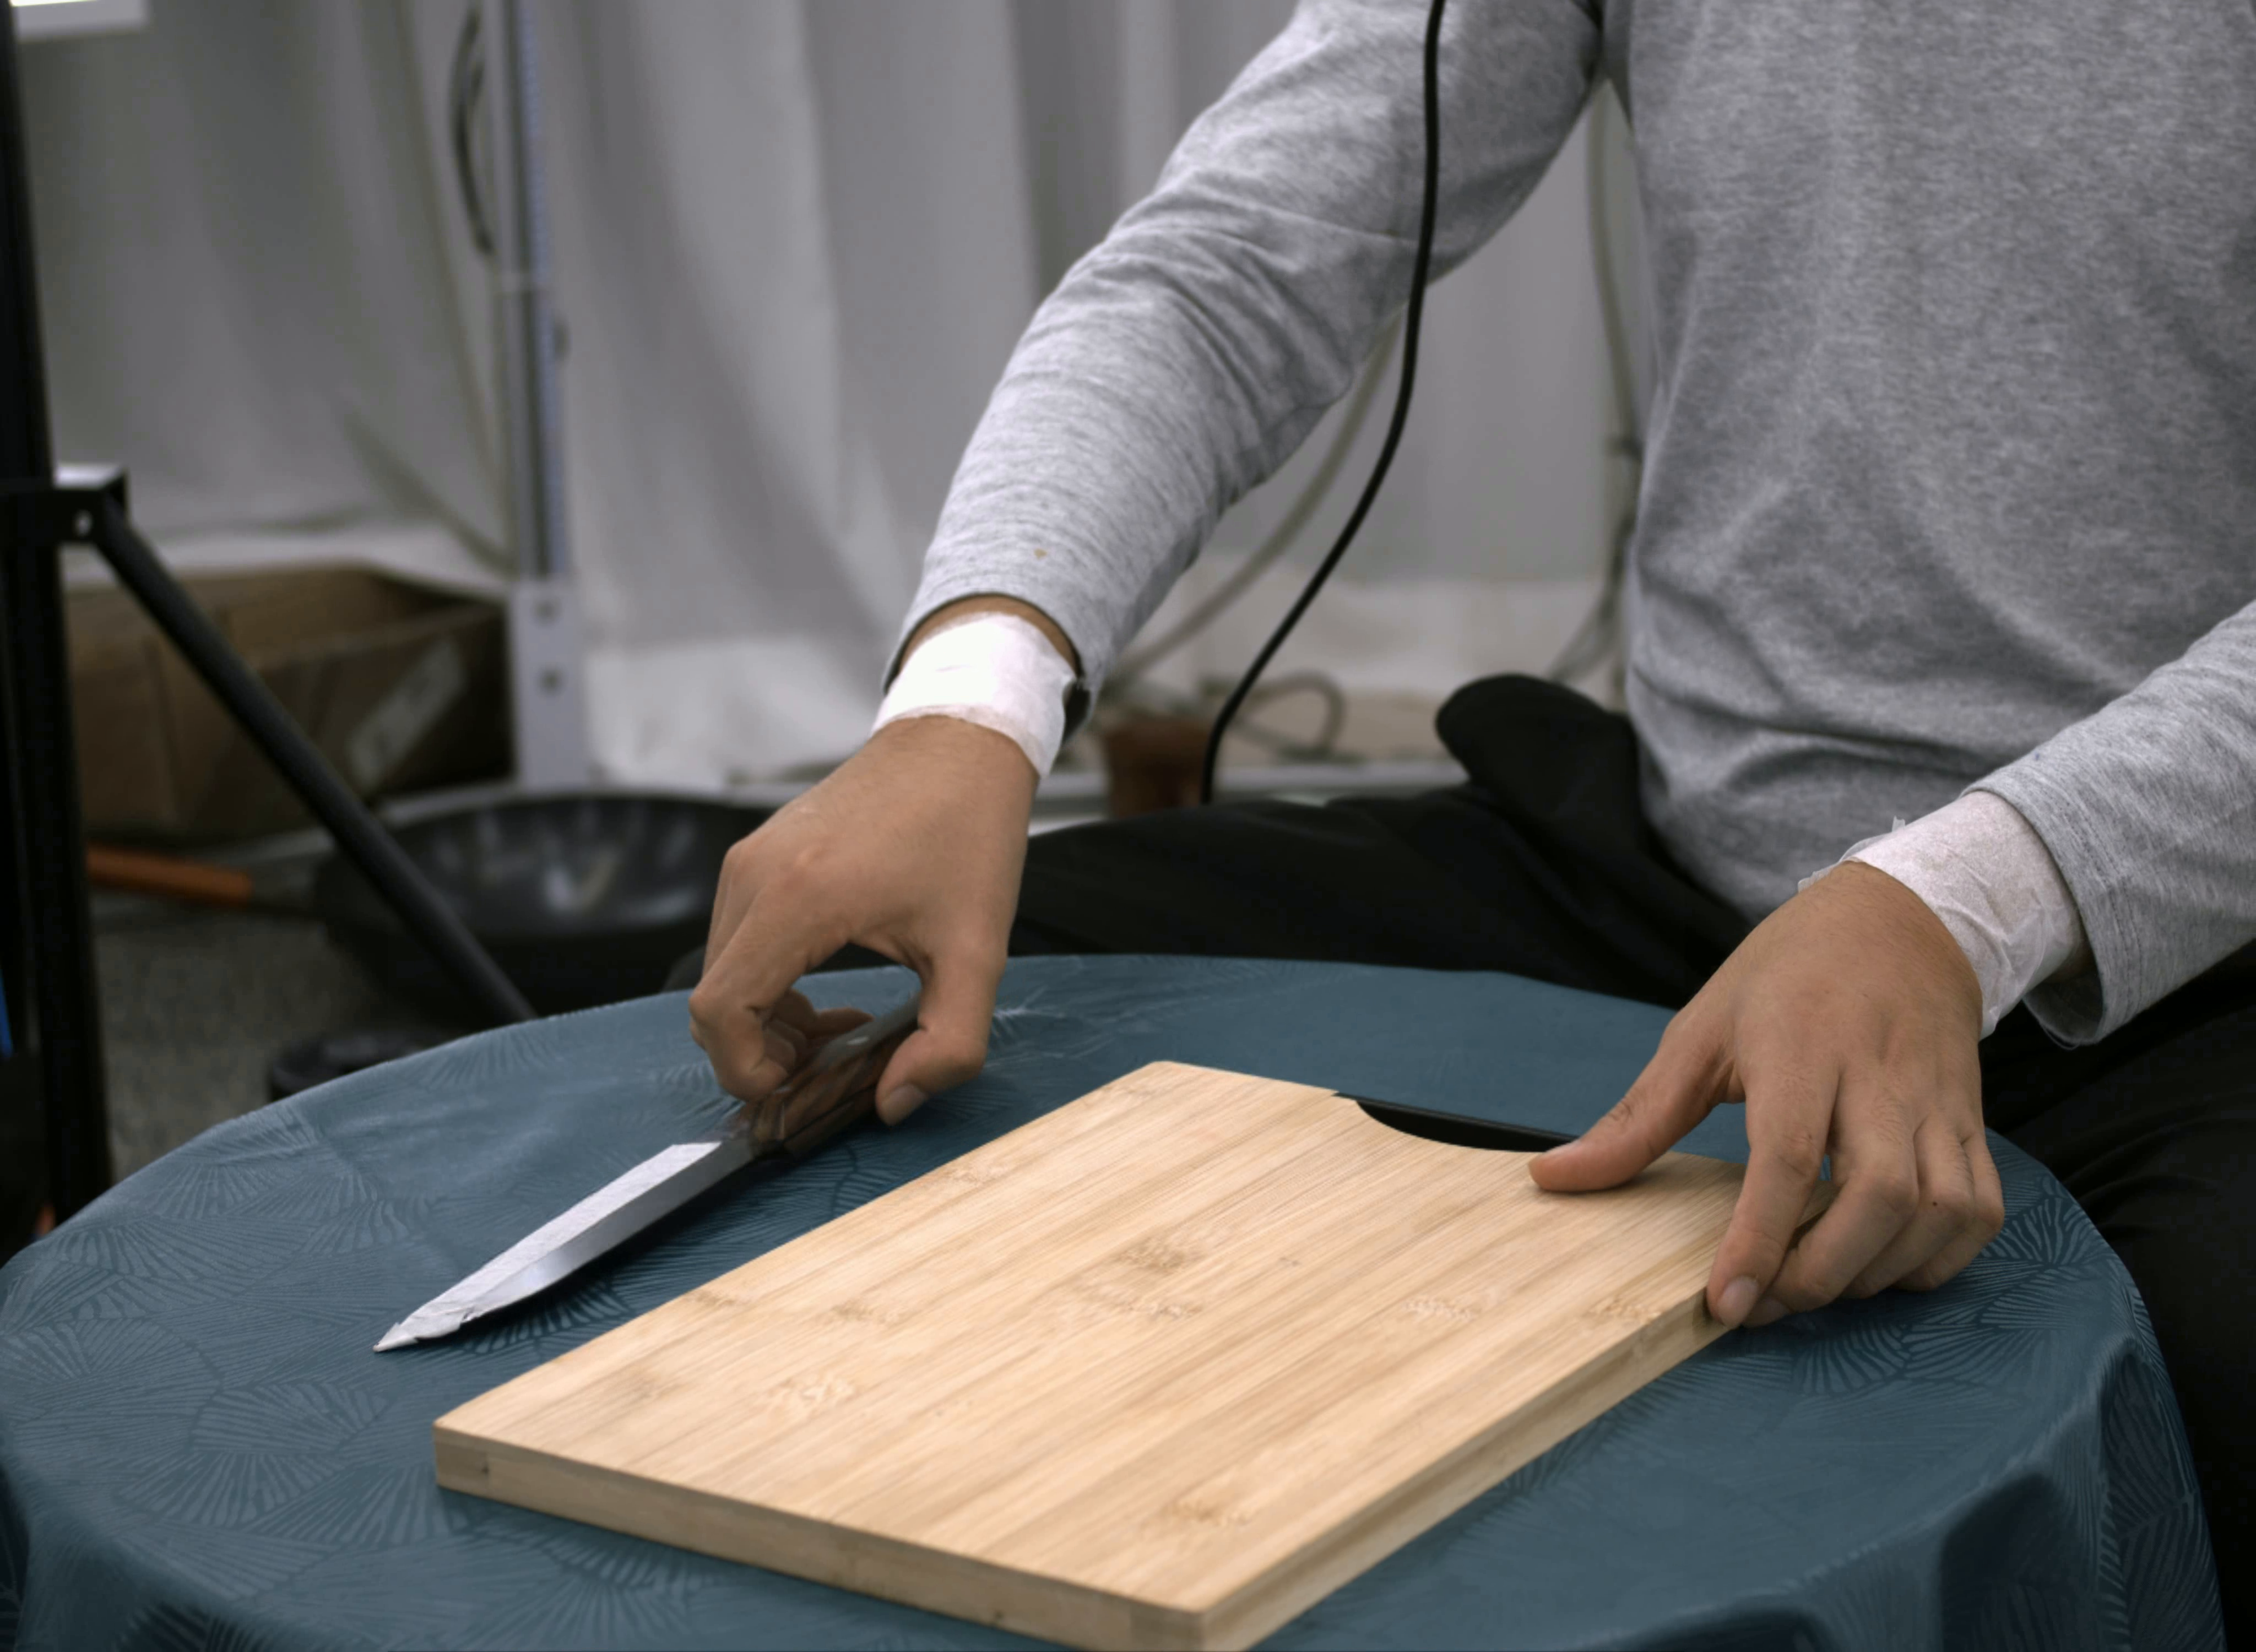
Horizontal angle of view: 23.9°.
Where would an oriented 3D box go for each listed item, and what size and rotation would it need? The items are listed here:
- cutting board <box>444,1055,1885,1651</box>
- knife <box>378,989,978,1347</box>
[{"bbox_3d":[0.017,0.136,1.433,0.256,0.023,0.342,9,19,34],"label":"cutting board"},{"bbox_3d":[-0.128,0.102,1.574,0.051,0.020,0.284,-7,13,35],"label":"knife"}]
